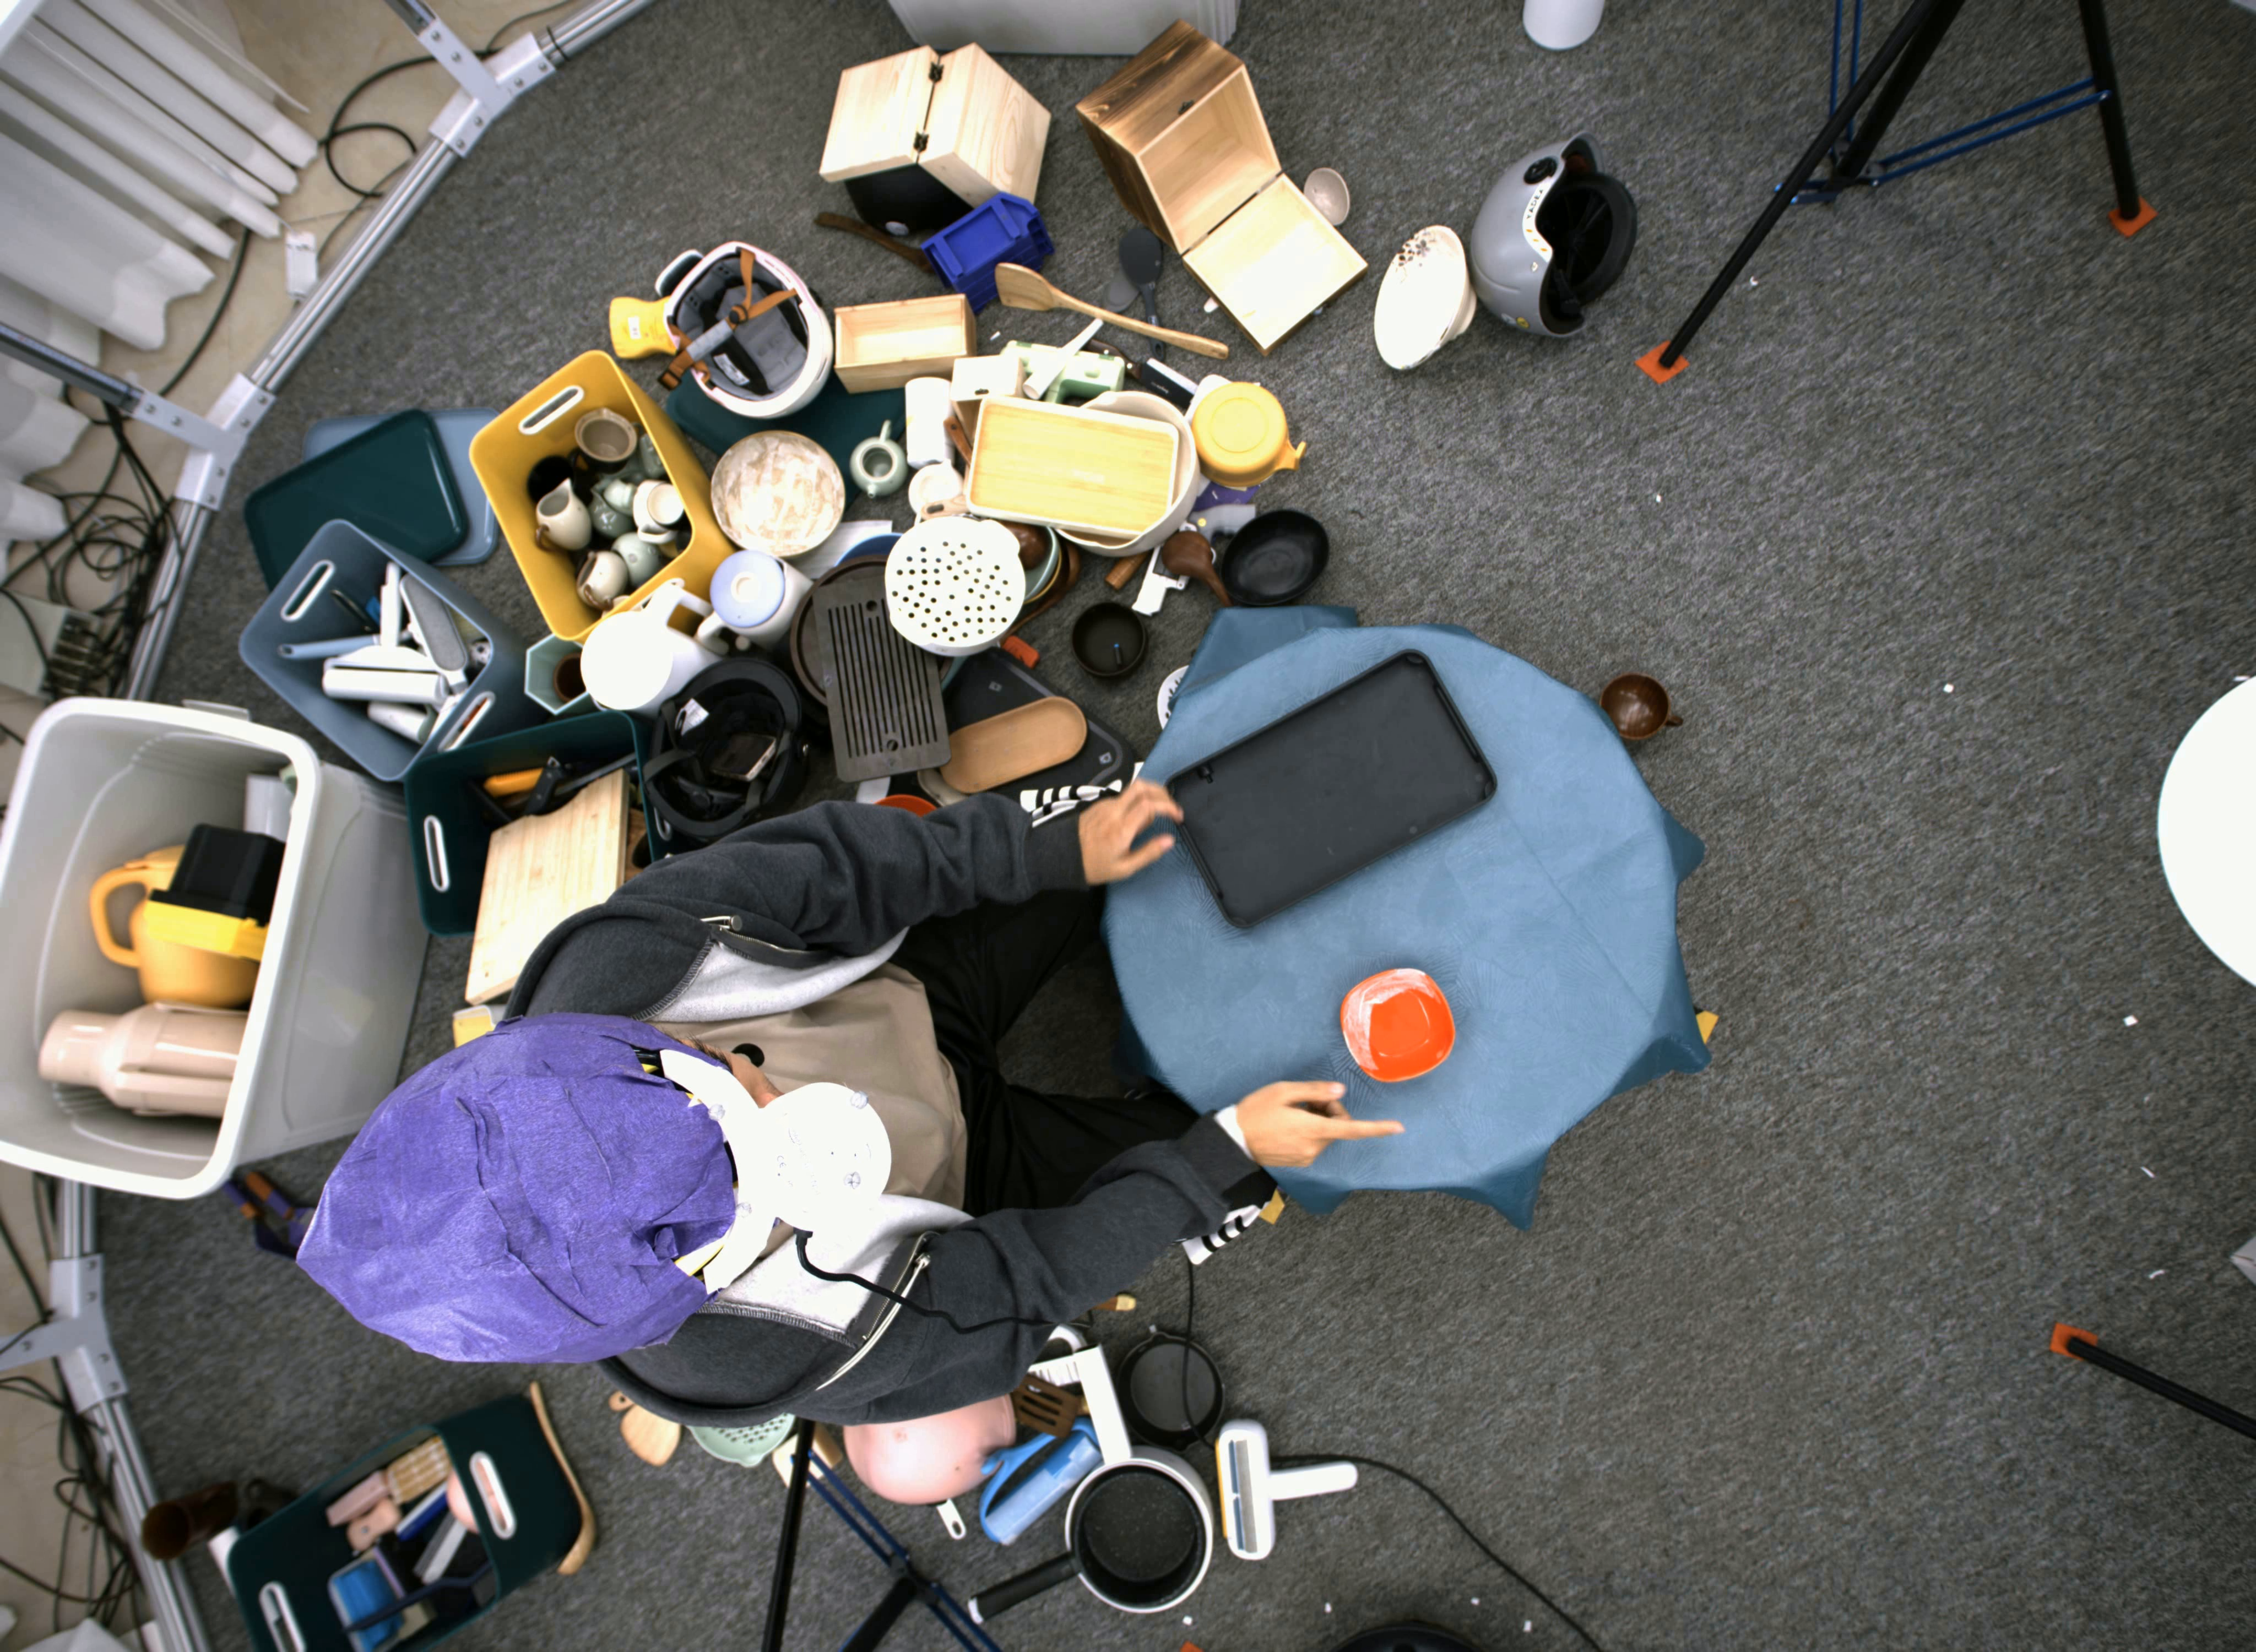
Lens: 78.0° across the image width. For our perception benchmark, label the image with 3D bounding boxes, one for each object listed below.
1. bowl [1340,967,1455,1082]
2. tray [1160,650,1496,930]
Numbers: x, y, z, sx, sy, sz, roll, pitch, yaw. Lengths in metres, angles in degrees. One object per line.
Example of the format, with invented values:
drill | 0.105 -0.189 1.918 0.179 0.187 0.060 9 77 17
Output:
bowl | 0.276 0.202 1.423 0.119 0.051 0.118 -1 87 9
tray | 0.209 -0.038 1.456 0.319 0.037 0.183 -29 82 7
